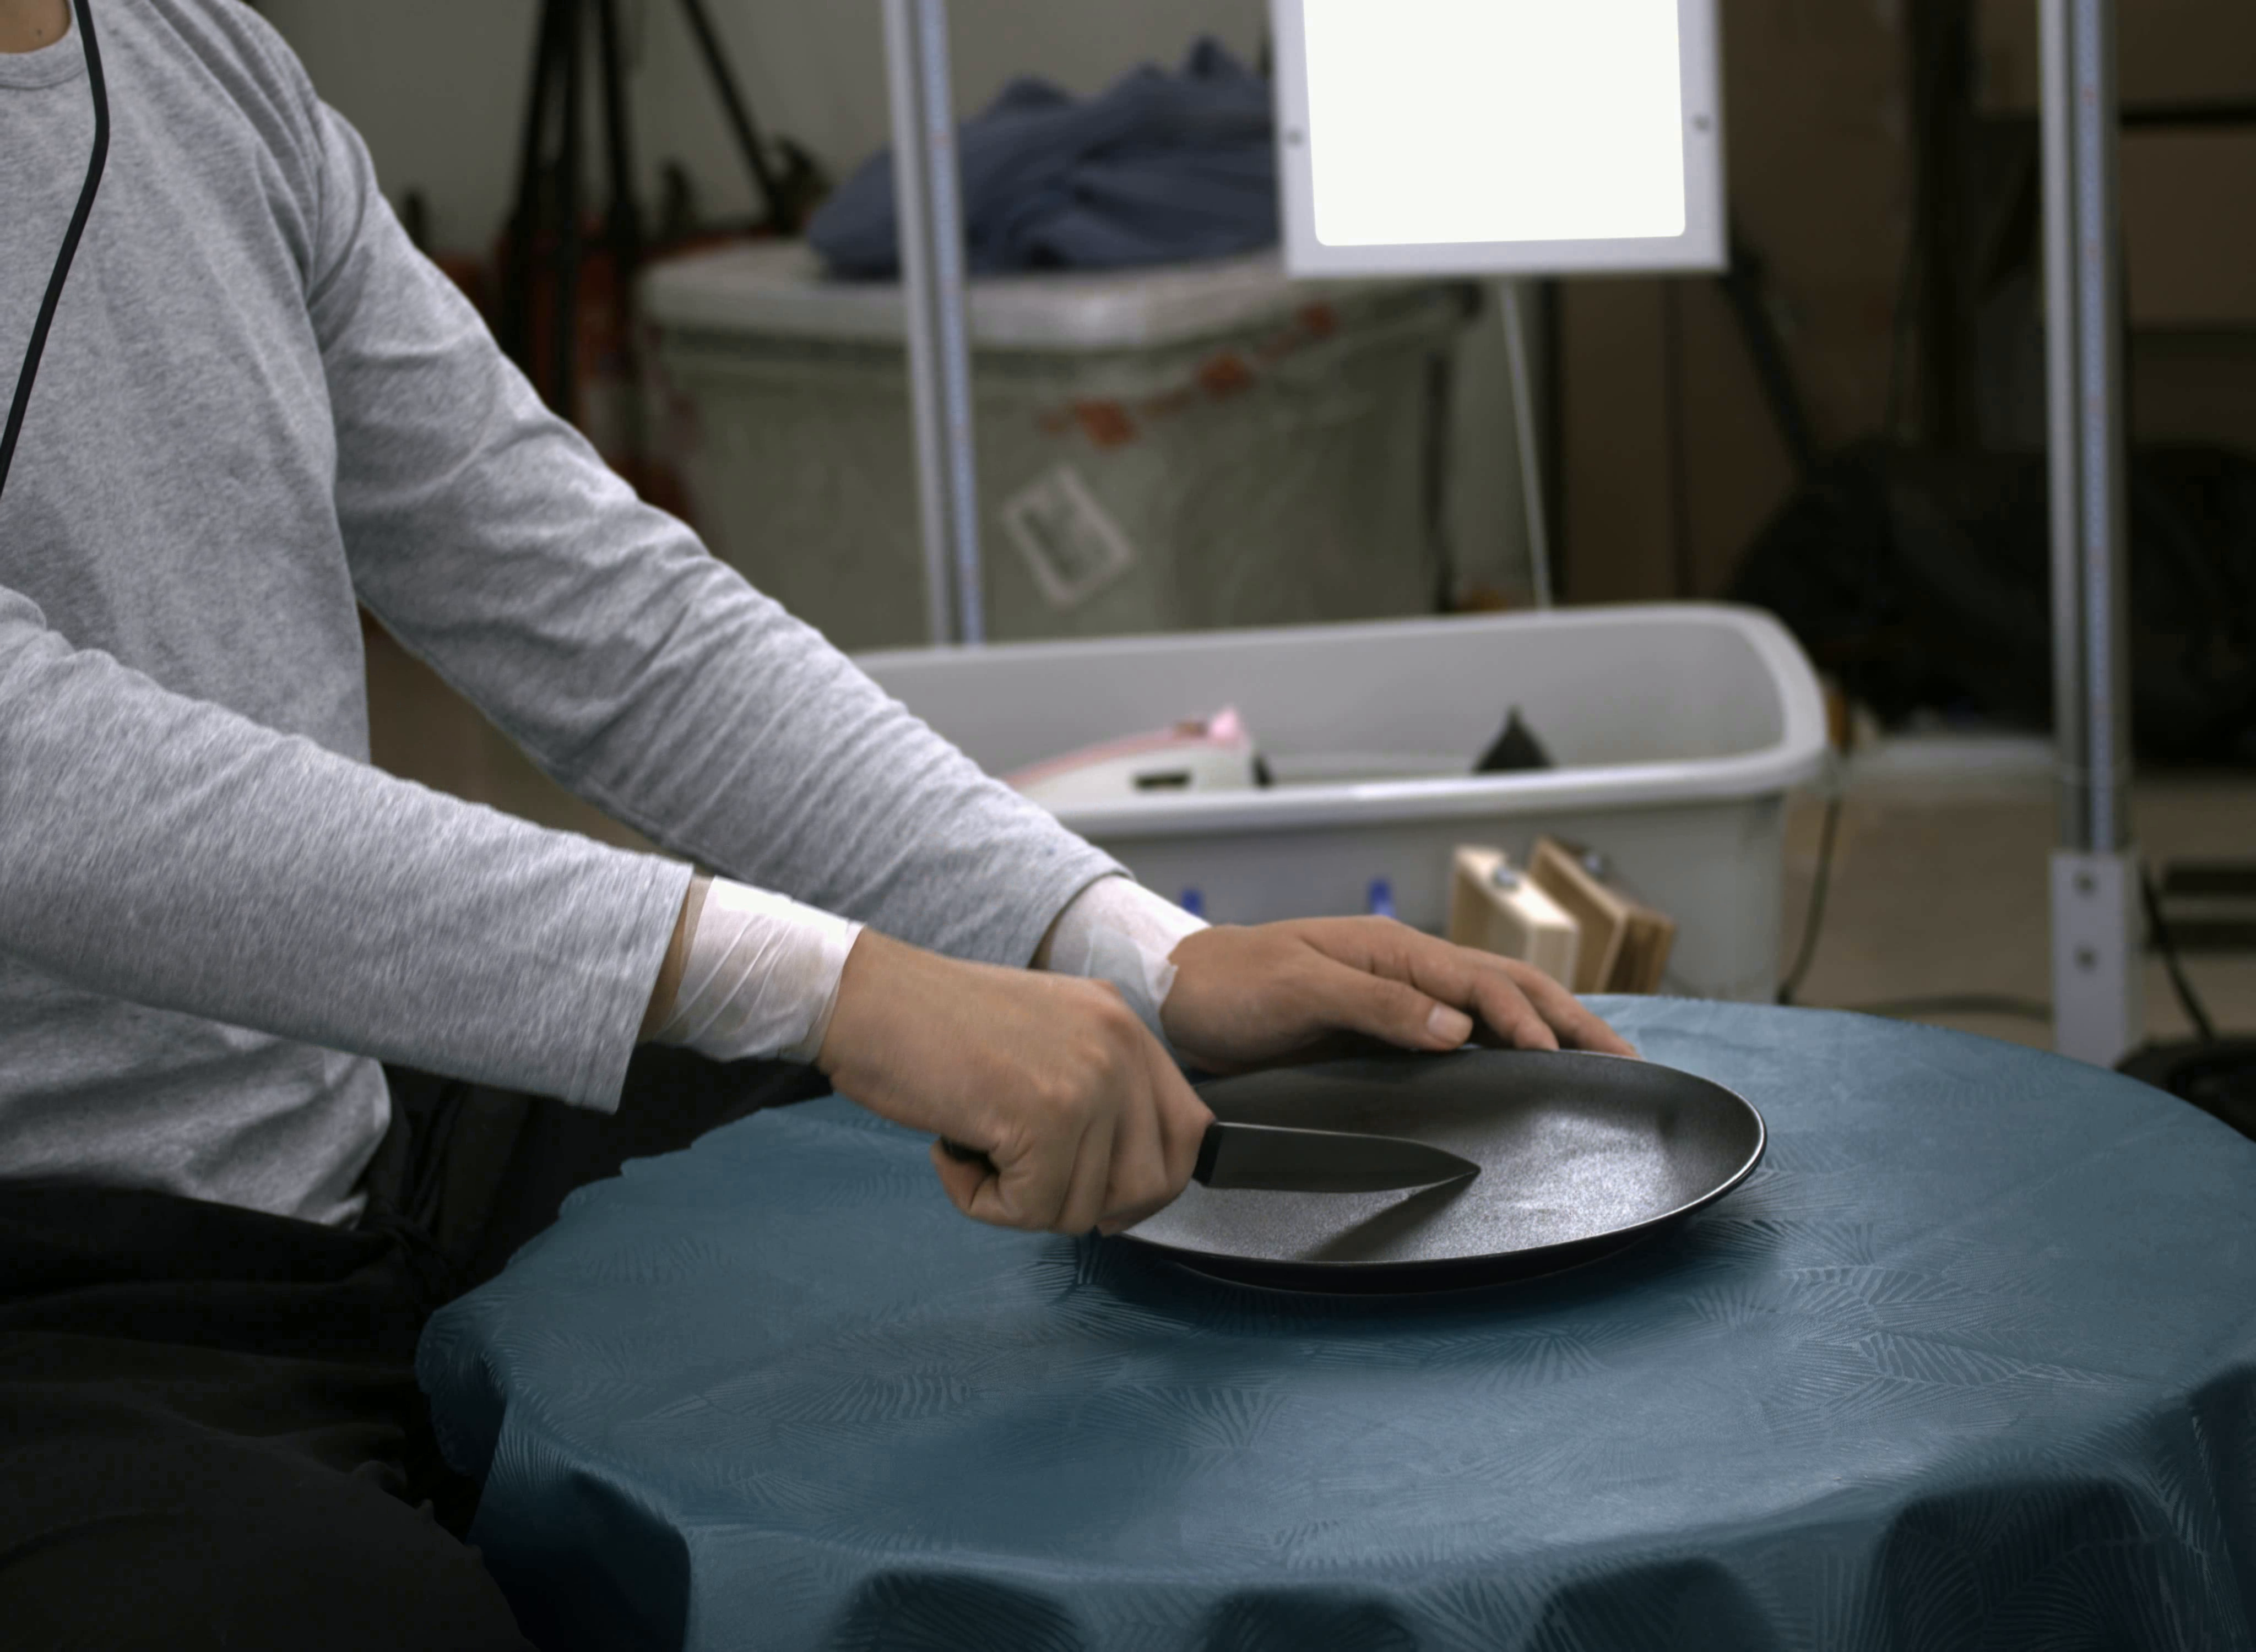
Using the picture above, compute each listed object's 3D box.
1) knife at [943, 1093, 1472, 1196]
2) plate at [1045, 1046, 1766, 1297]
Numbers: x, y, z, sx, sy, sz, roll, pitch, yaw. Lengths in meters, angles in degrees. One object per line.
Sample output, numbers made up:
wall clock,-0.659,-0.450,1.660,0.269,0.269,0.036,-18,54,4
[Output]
knife,0.033,0.104,1.788,0.232,0.024,0.016,9,10,-41
plate,0.094,0.119,1.852,0.244,0.023,0.244,-5,14,0
